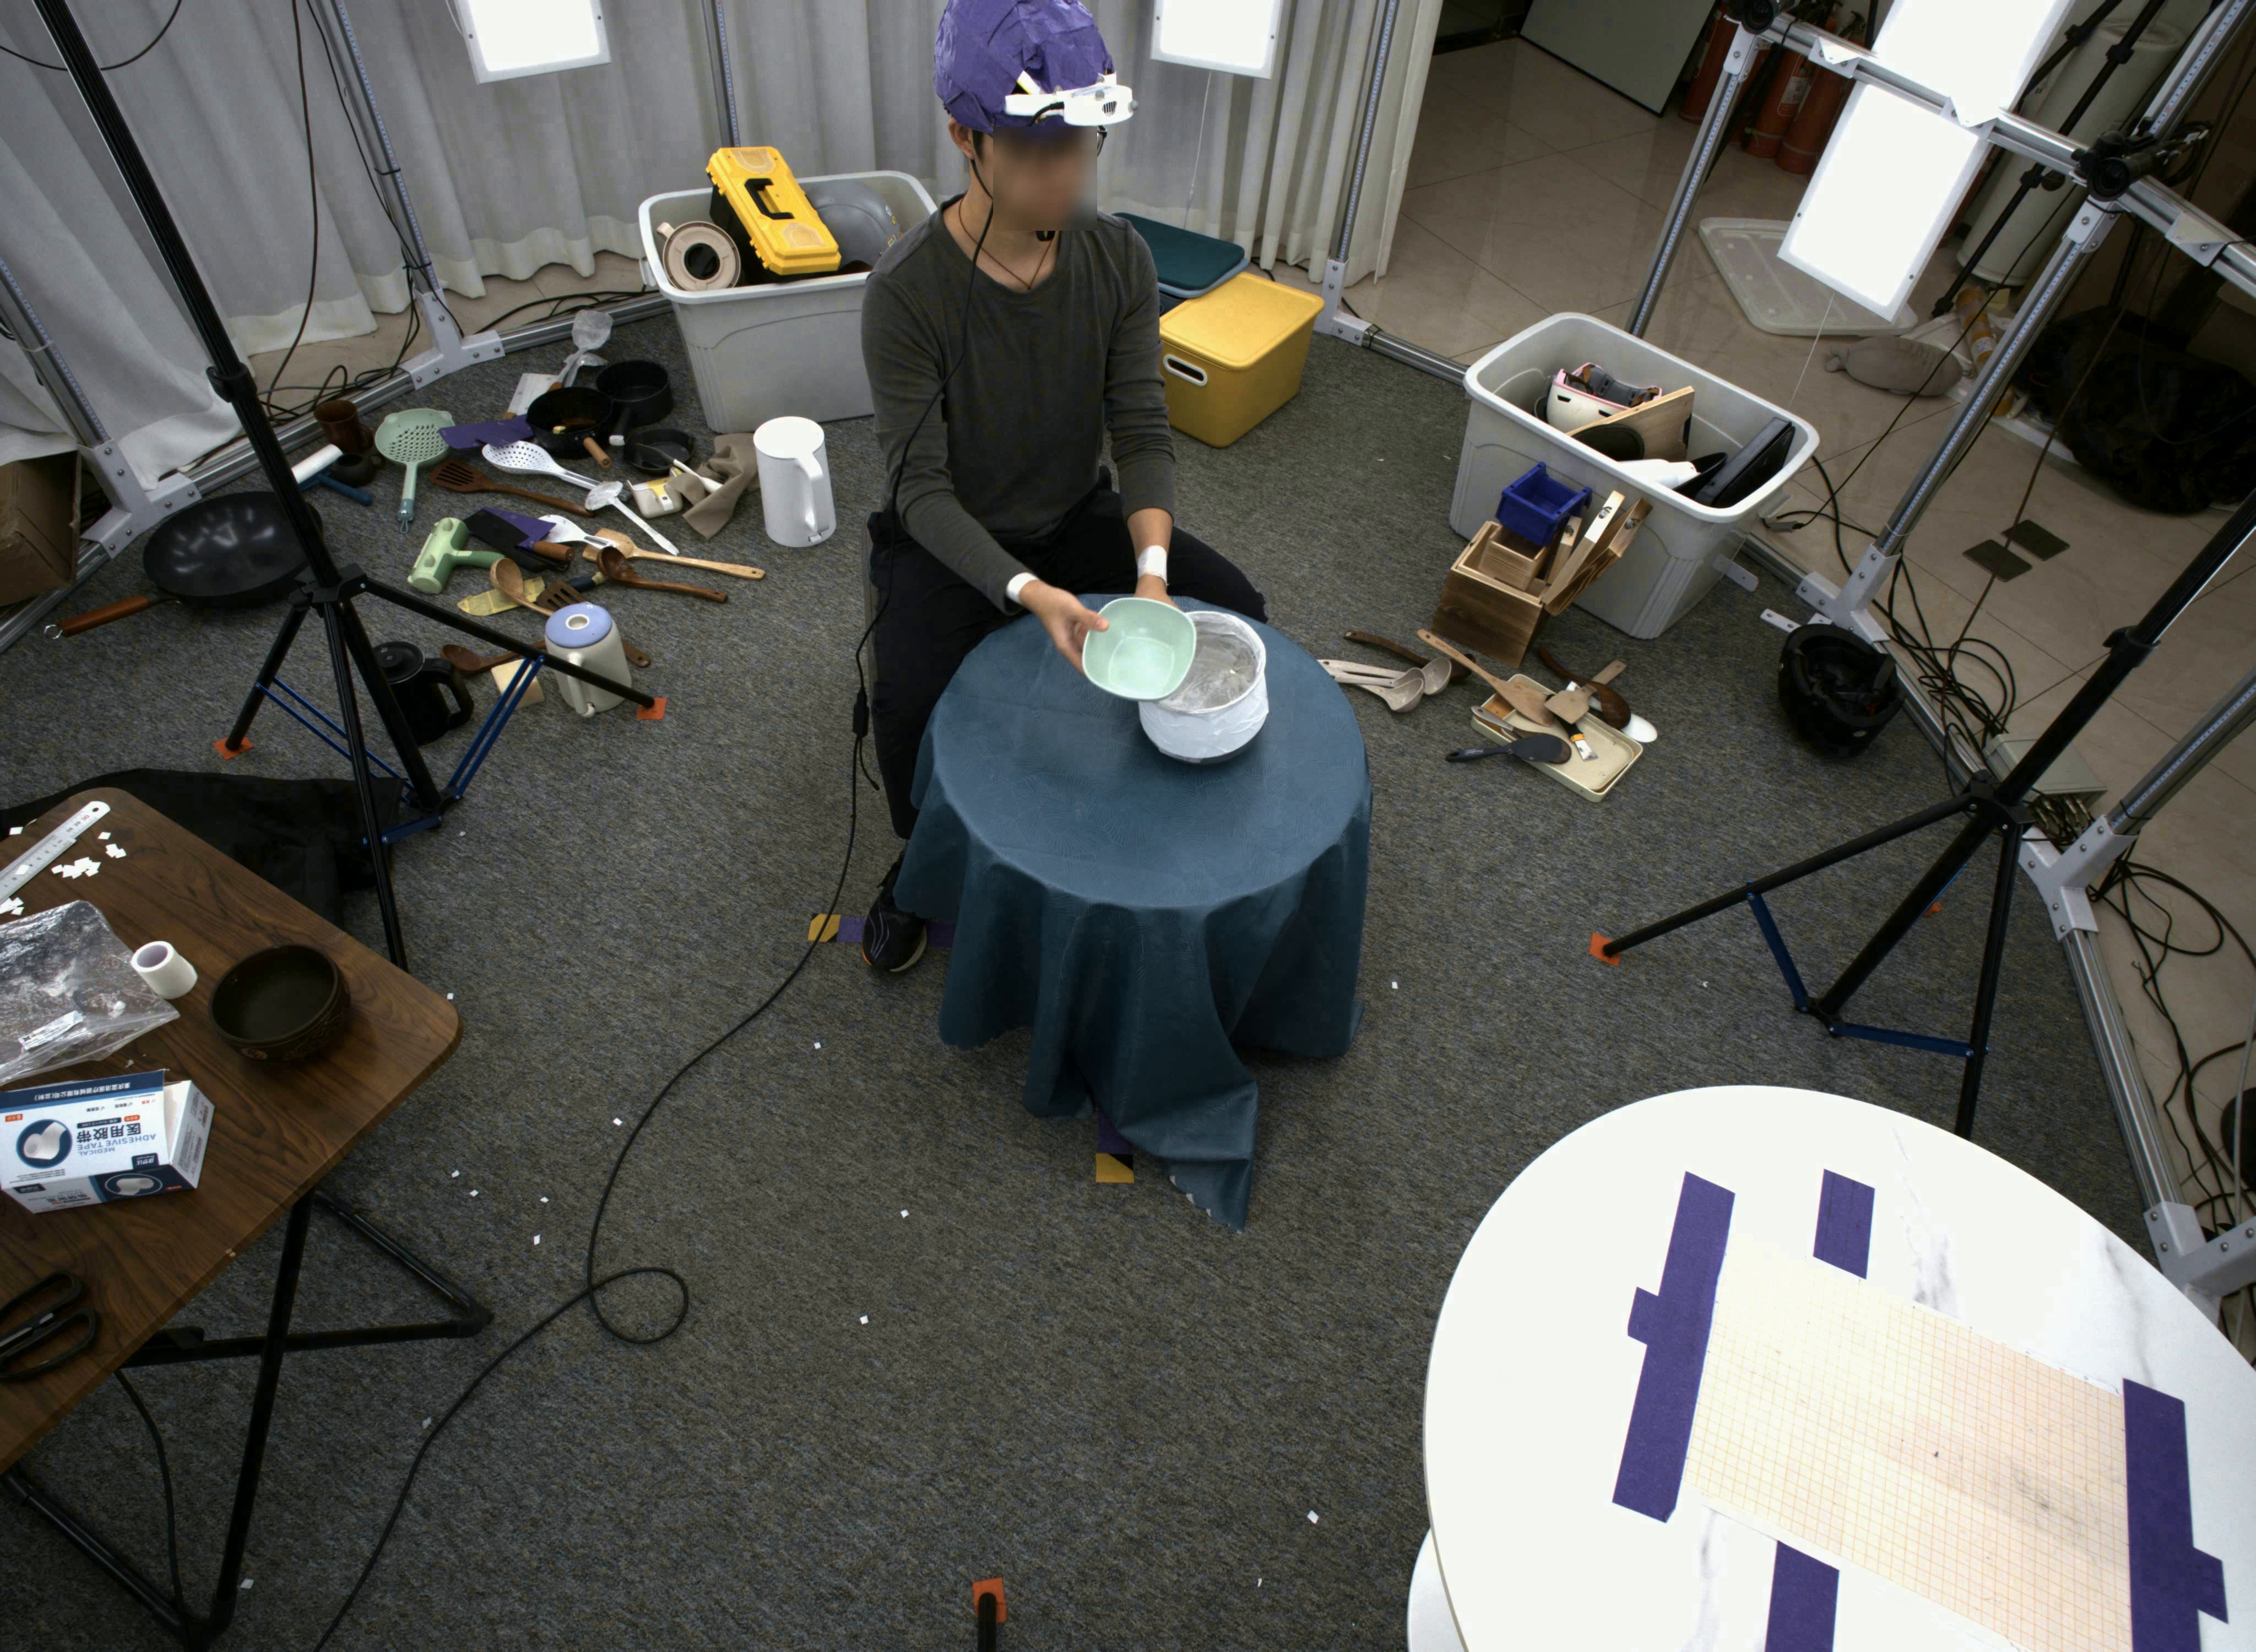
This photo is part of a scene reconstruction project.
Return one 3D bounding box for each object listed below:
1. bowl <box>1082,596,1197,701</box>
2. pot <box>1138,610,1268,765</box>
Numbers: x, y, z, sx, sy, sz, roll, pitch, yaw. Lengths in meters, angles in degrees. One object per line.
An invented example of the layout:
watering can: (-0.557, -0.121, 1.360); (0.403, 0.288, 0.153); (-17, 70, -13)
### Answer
bowl: (0.016, -0.216, 1.630); (0.151, 0.057, 0.154); (-1, 69, 3)
pot: (0.086, -0.201, 1.746); (0.179, 0.133, 0.239); (-28, 56, -11)
